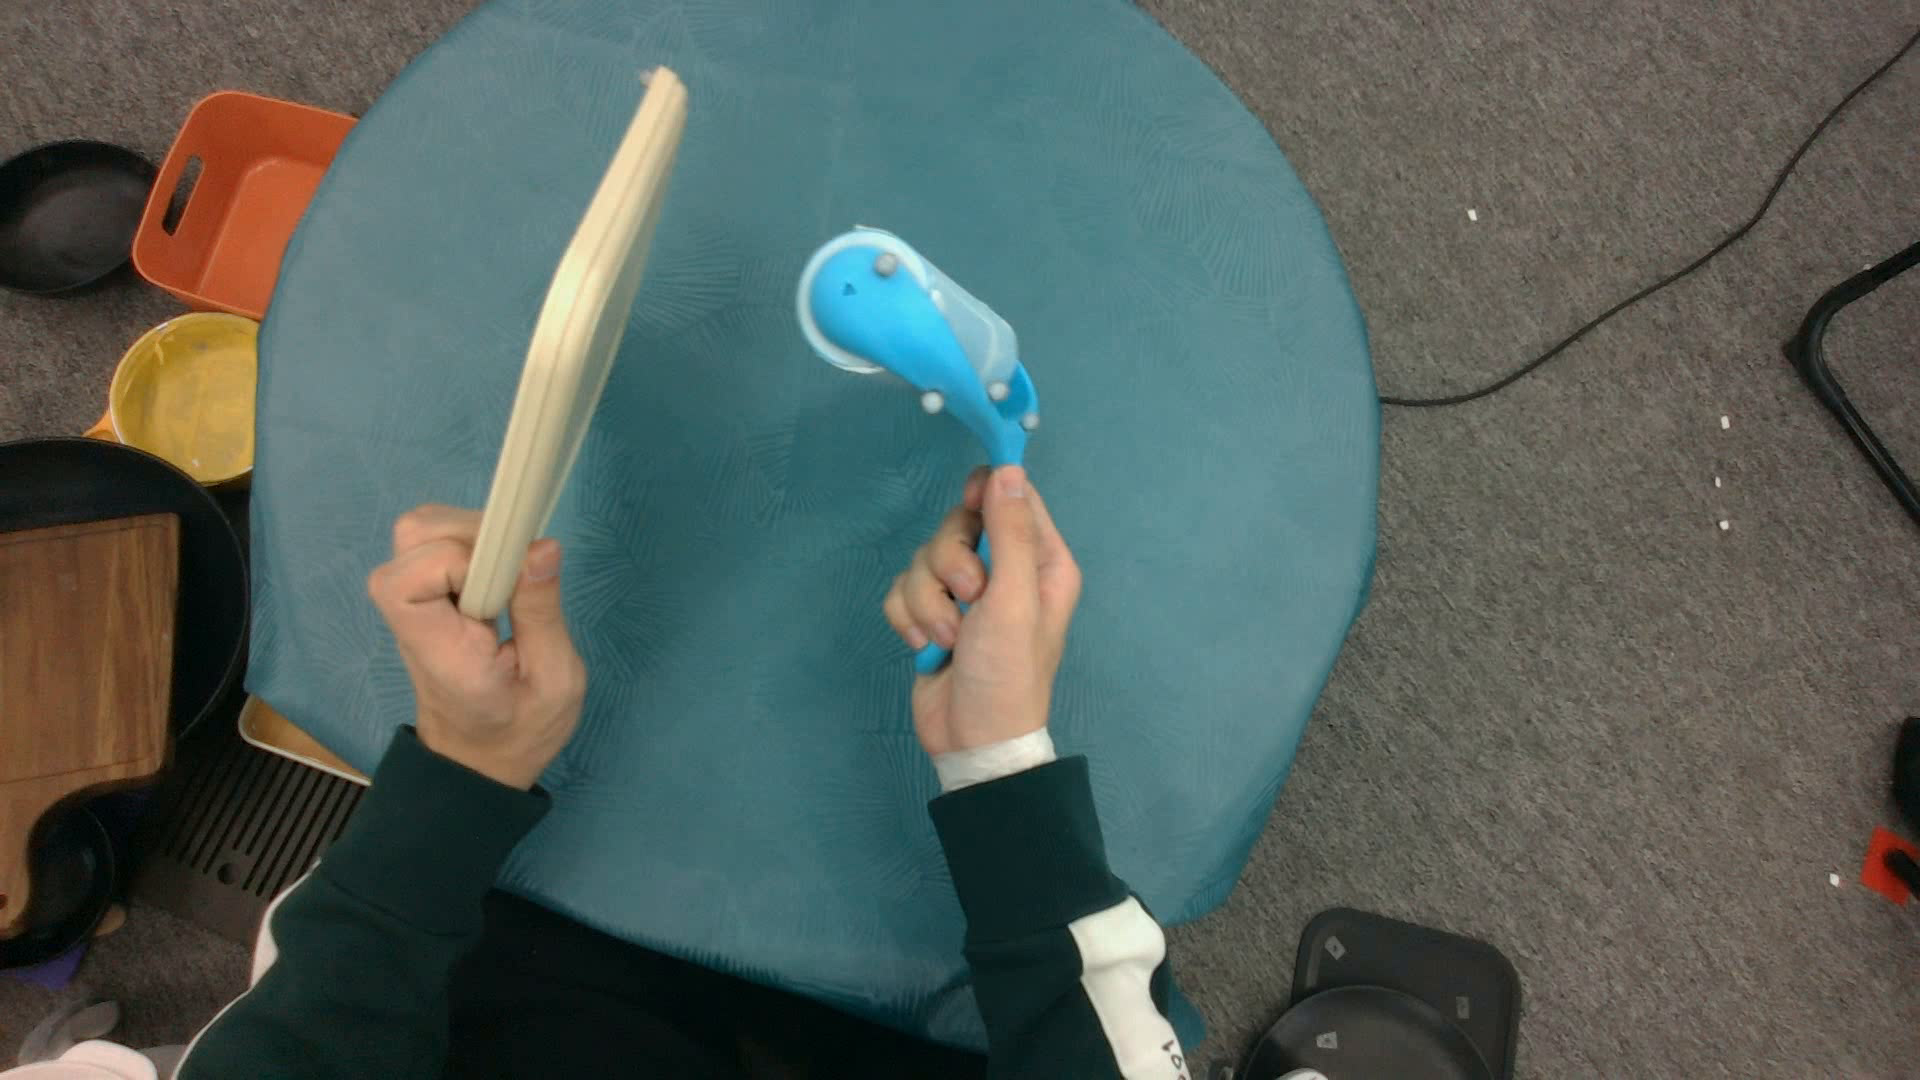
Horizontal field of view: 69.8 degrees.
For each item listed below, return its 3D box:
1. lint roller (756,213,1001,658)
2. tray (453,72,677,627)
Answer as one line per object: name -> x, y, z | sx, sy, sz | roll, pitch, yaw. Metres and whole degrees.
lint roller -> -0.019, -0.042, 0.606 | 0.068, 0.229, 0.180 | -13, 93, 9
tray -> -0.161, -0.087, 0.583 | 0.017, 0.170, 0.241 | 18, 35, -13
